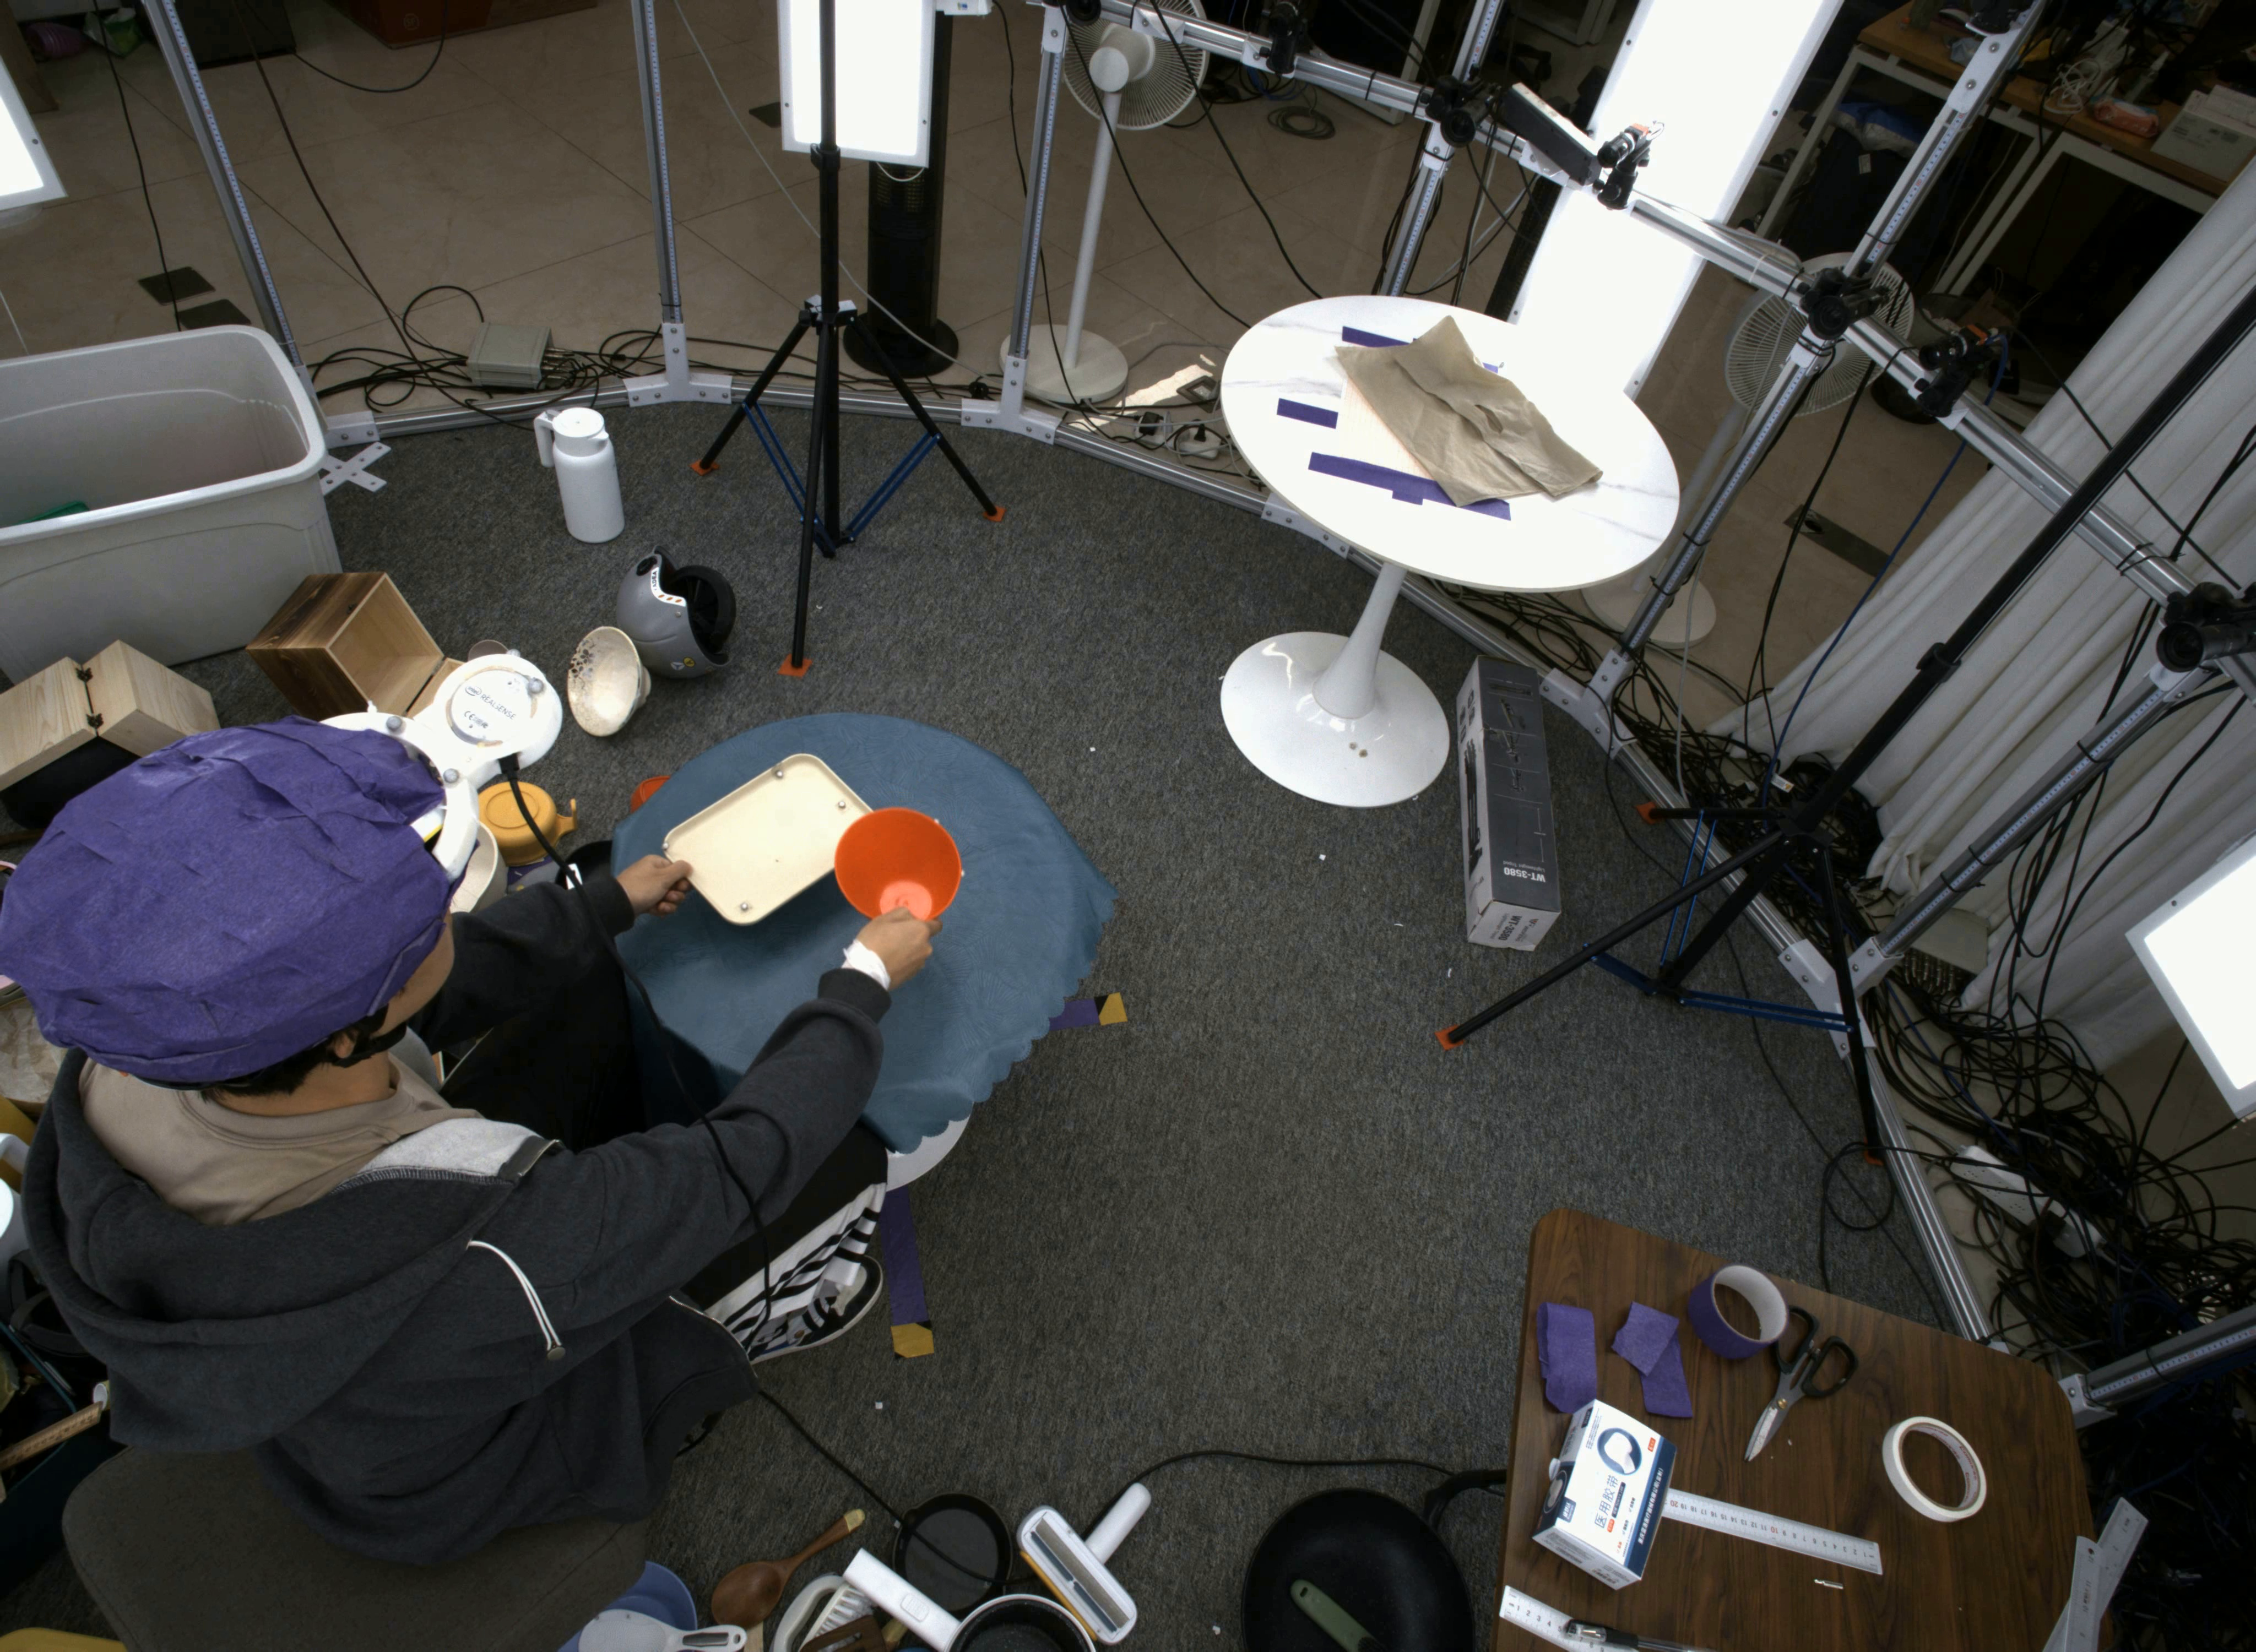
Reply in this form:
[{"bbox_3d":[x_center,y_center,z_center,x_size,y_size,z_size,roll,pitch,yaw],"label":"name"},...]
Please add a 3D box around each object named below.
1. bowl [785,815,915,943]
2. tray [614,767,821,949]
[{"bbox_3d":[-0.324,0.074,1.529,0.147,0.106,0.146,6,59,-8],"label":"bowl"},{"bbox_3d":[-0.498,0.036,1.593,0.168,0.018,0.240,40,56,11],"label":"tray"}]
